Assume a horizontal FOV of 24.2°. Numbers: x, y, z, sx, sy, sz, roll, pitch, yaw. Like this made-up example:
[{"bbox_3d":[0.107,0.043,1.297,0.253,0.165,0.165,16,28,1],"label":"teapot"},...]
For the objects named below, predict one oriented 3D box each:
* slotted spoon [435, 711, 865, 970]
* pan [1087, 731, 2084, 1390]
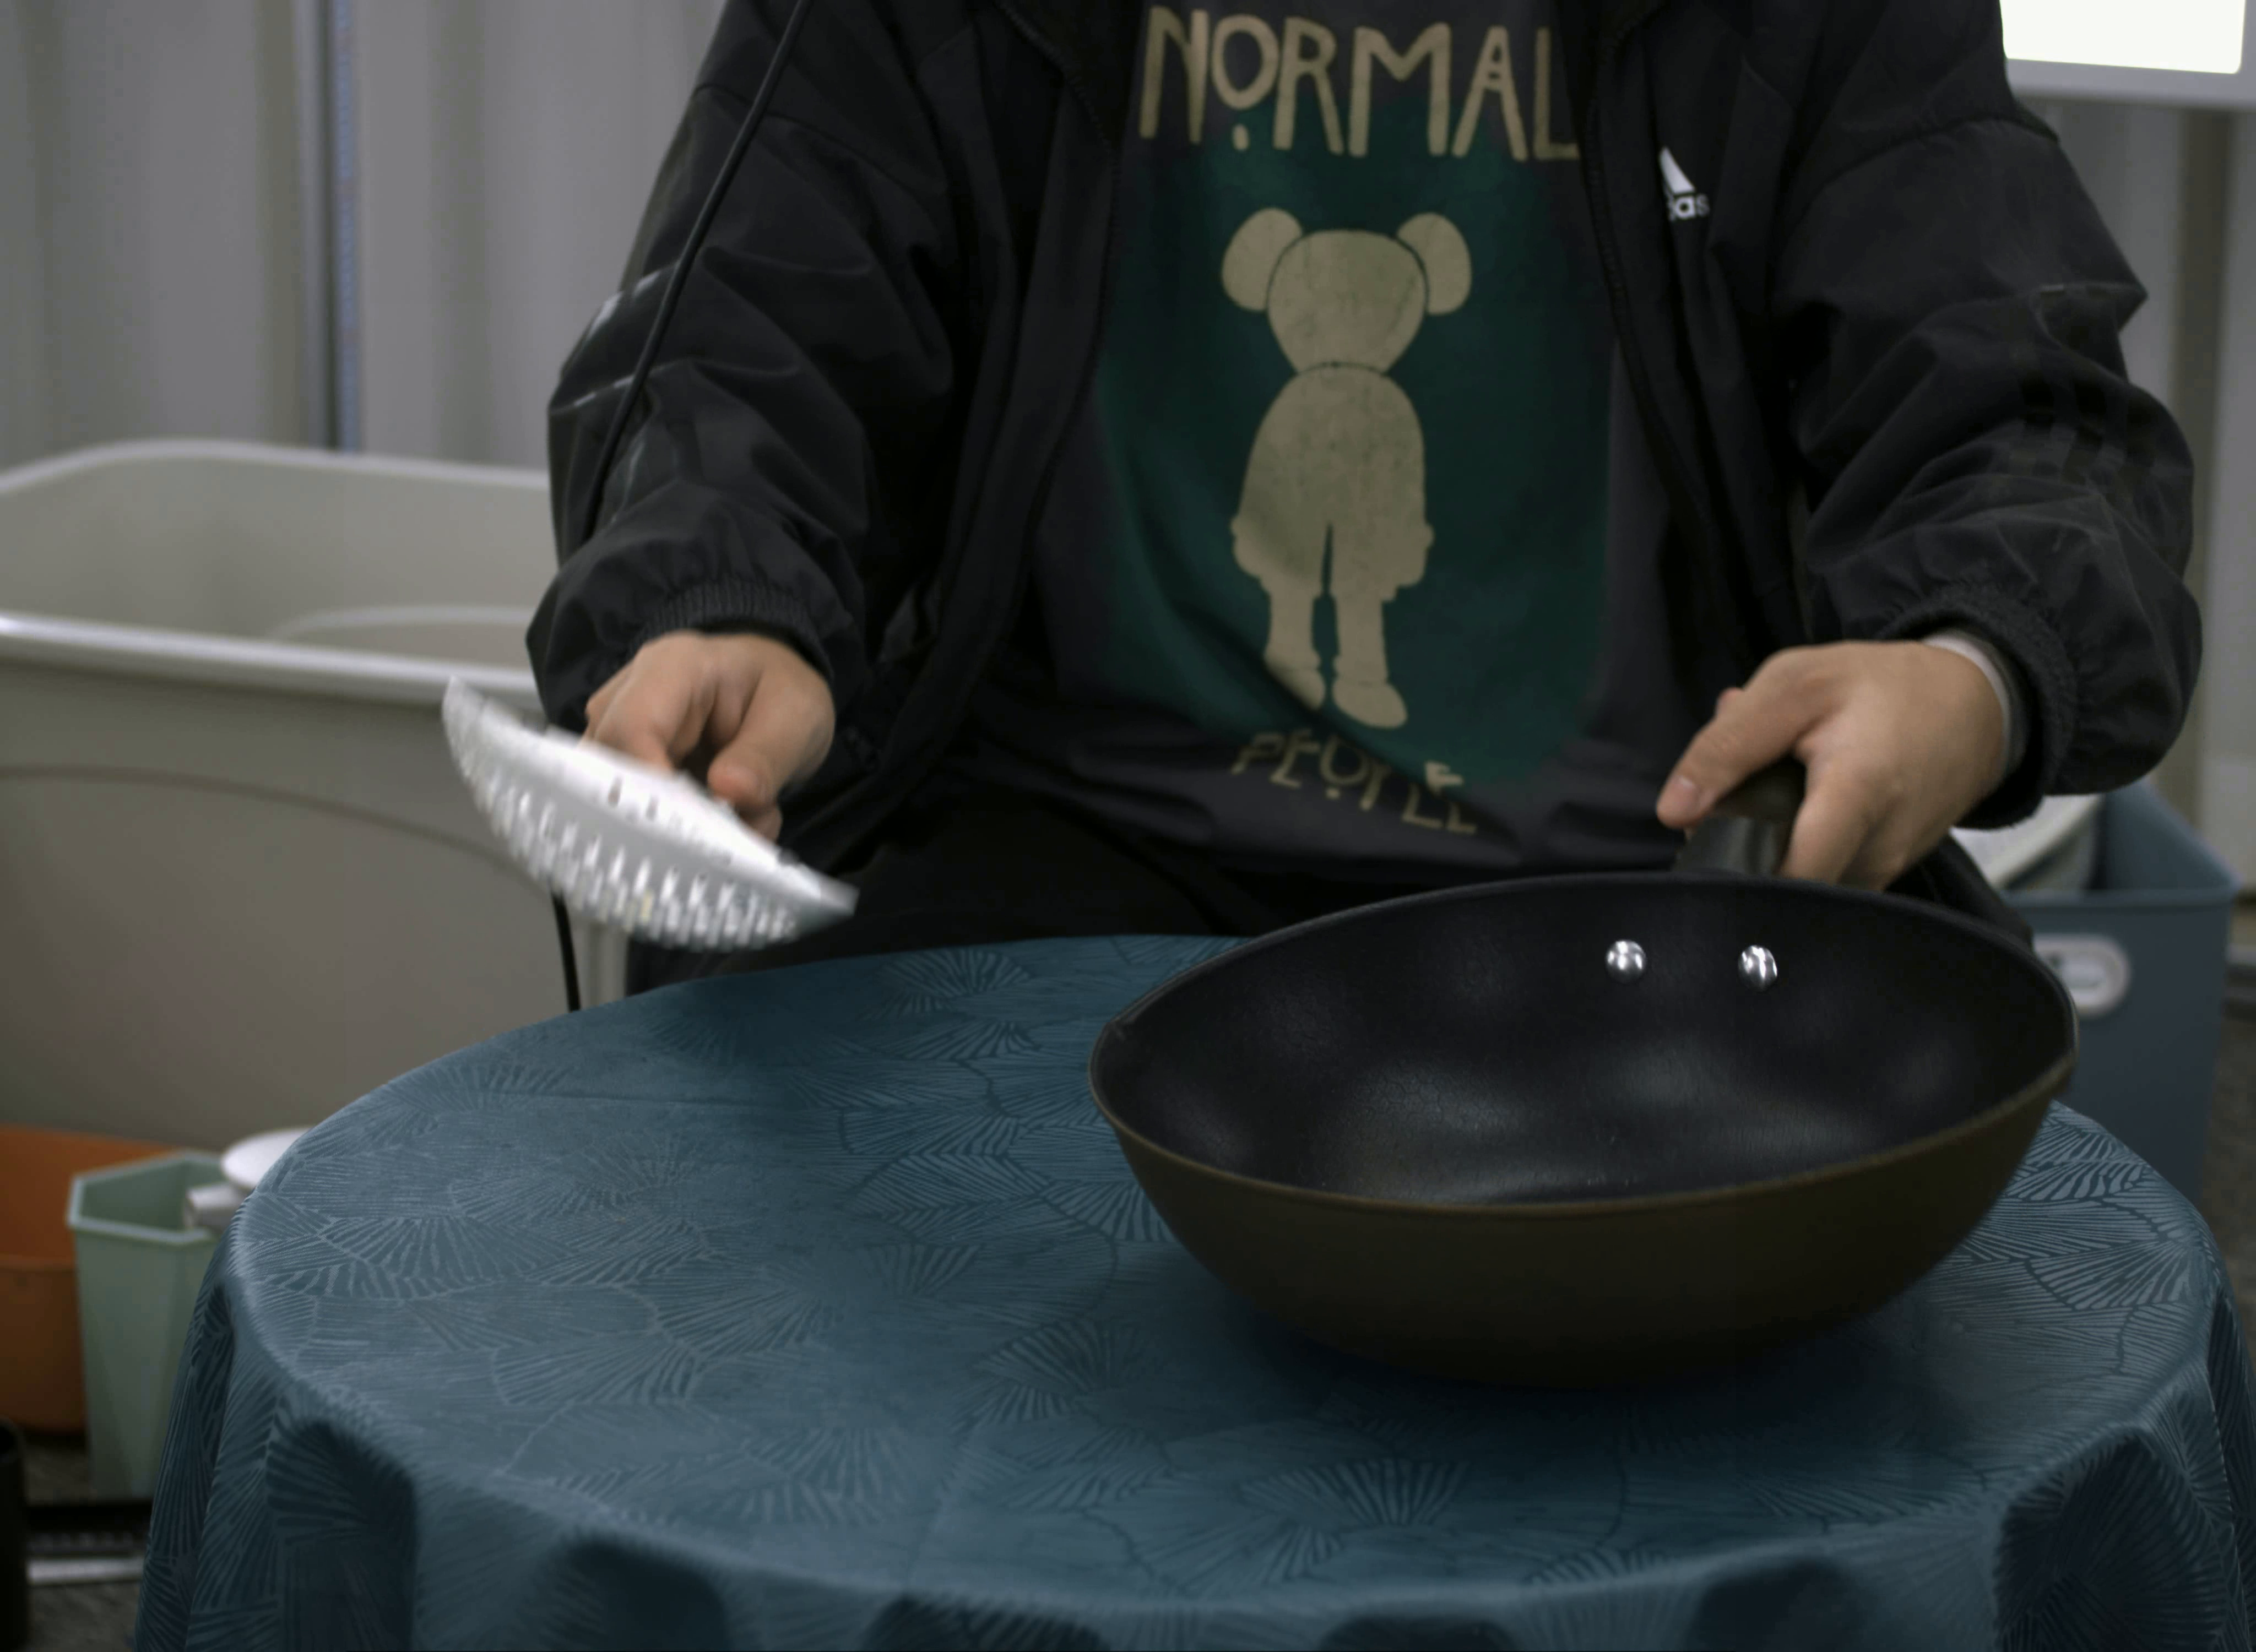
[{"bbox_3d":[-0.143,0.008,1.624,0.136,0.050,0.347,26,4,-1],"label":"slotted spoon"},{"bbox_3d":[0.162,0.068,1.595,0.285,0.087,0.463,3,18,20],"label":"pan"}]
